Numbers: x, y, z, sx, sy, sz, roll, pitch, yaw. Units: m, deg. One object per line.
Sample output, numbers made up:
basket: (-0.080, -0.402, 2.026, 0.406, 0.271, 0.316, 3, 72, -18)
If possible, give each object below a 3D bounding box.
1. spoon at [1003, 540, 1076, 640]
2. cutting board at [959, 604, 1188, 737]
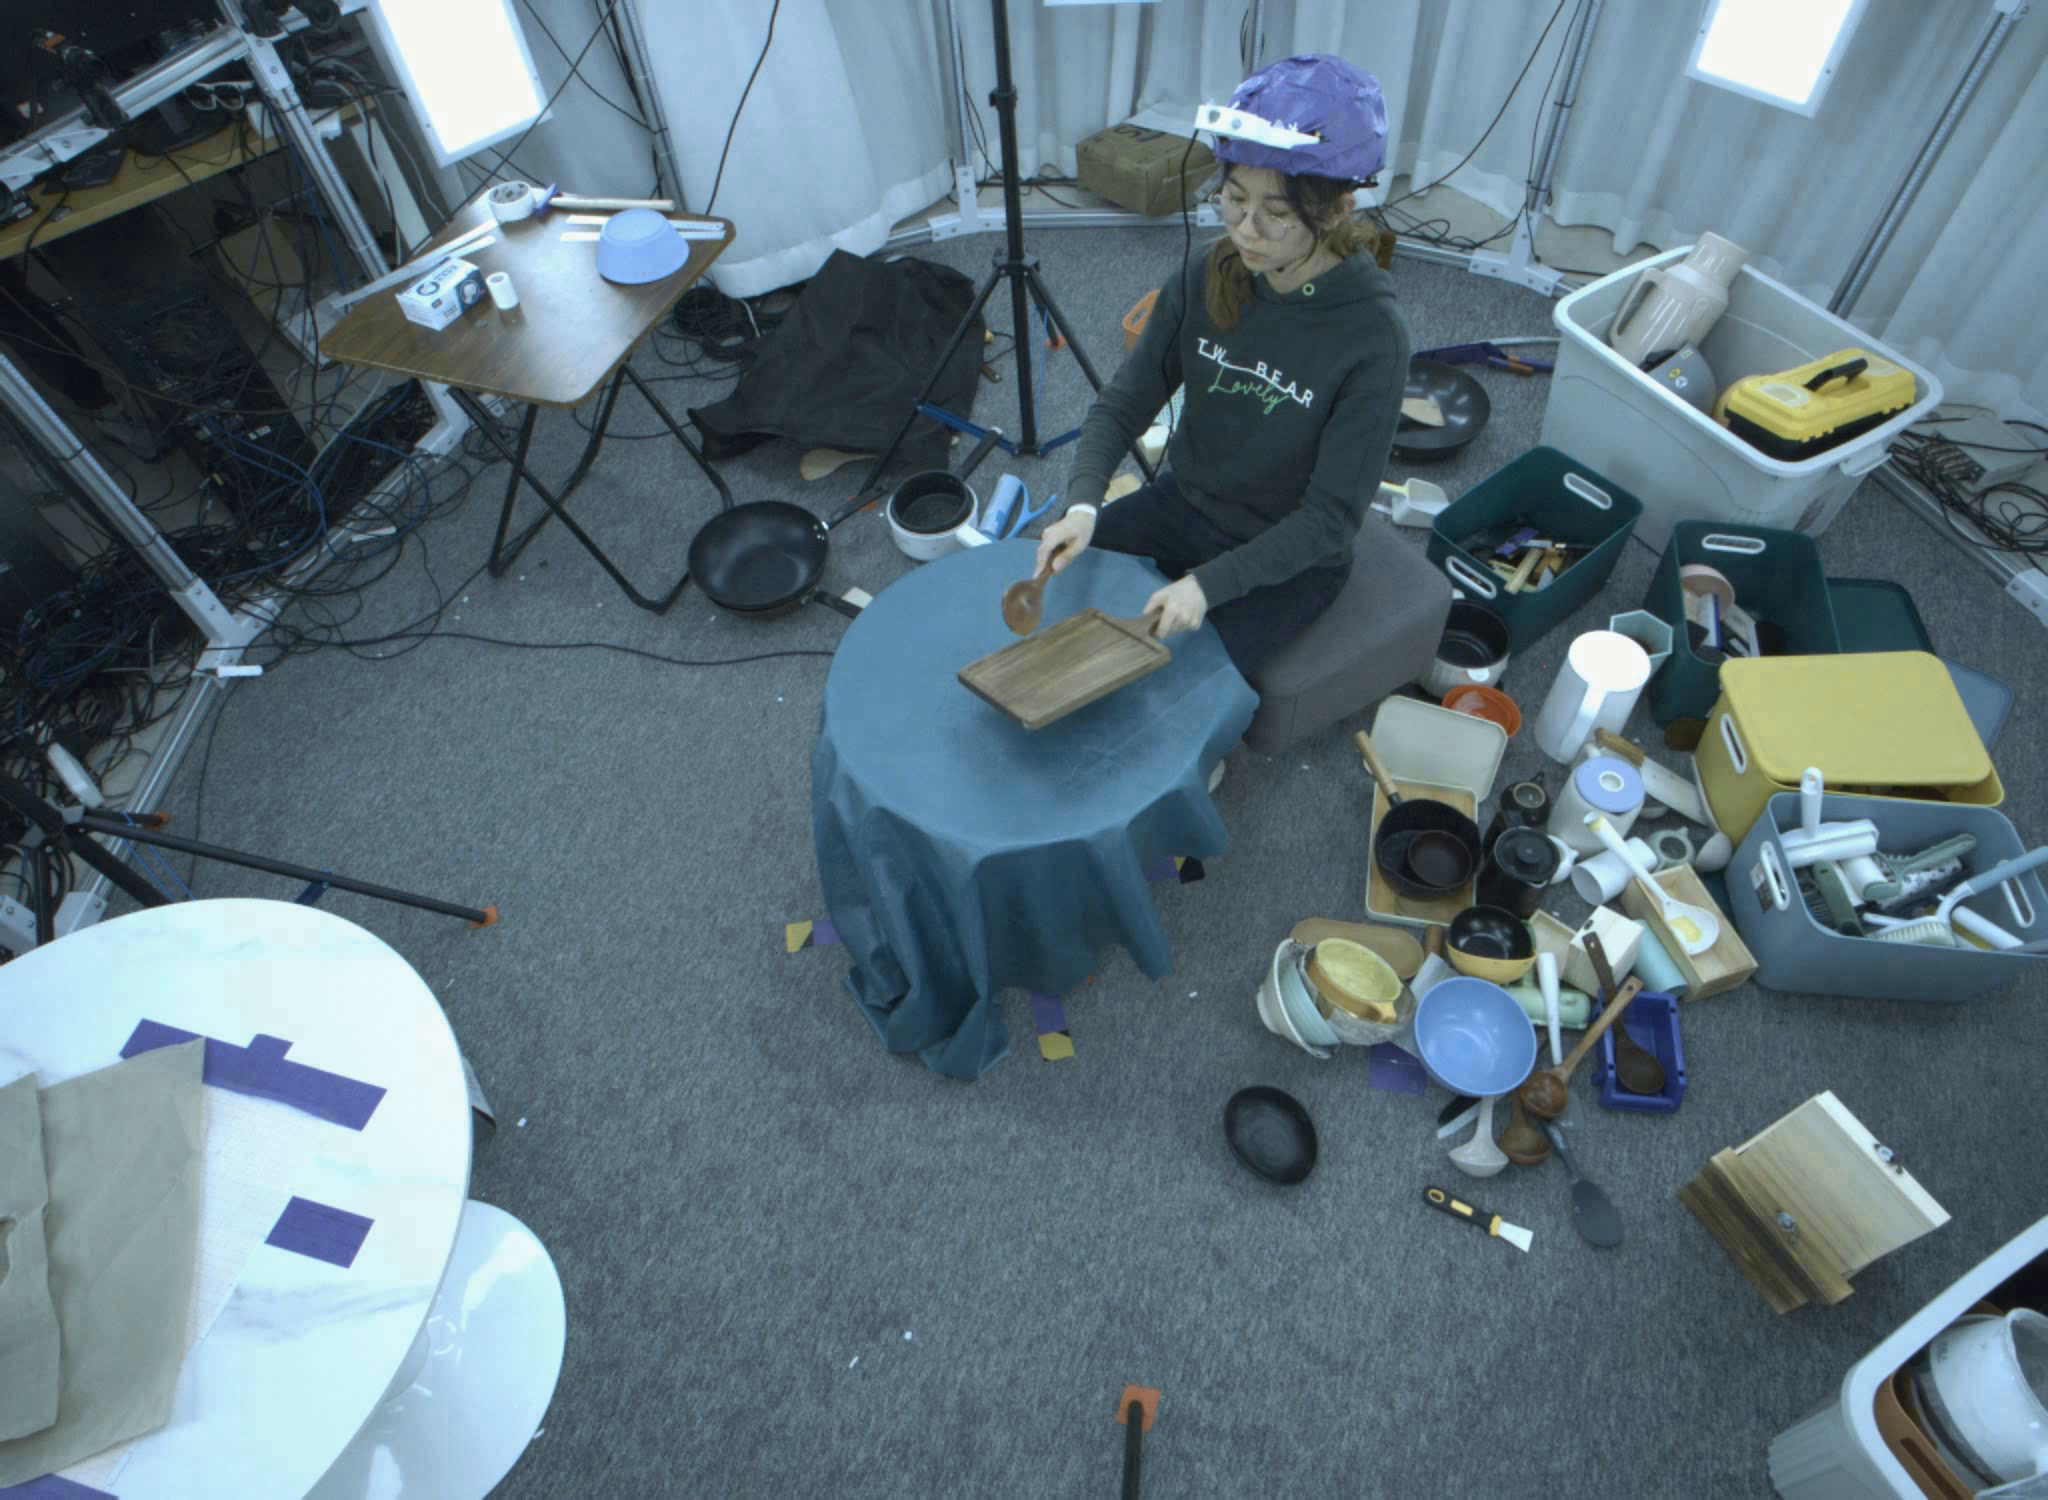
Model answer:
spoon: (0.026, -0.243, 1.824, 0.017, 0.077, 0.216, -12, 35, 44)
cutting board: (0.100, -0.135, 1.786, 0.356, 0.023, 0.196, -27, 38, -24)
